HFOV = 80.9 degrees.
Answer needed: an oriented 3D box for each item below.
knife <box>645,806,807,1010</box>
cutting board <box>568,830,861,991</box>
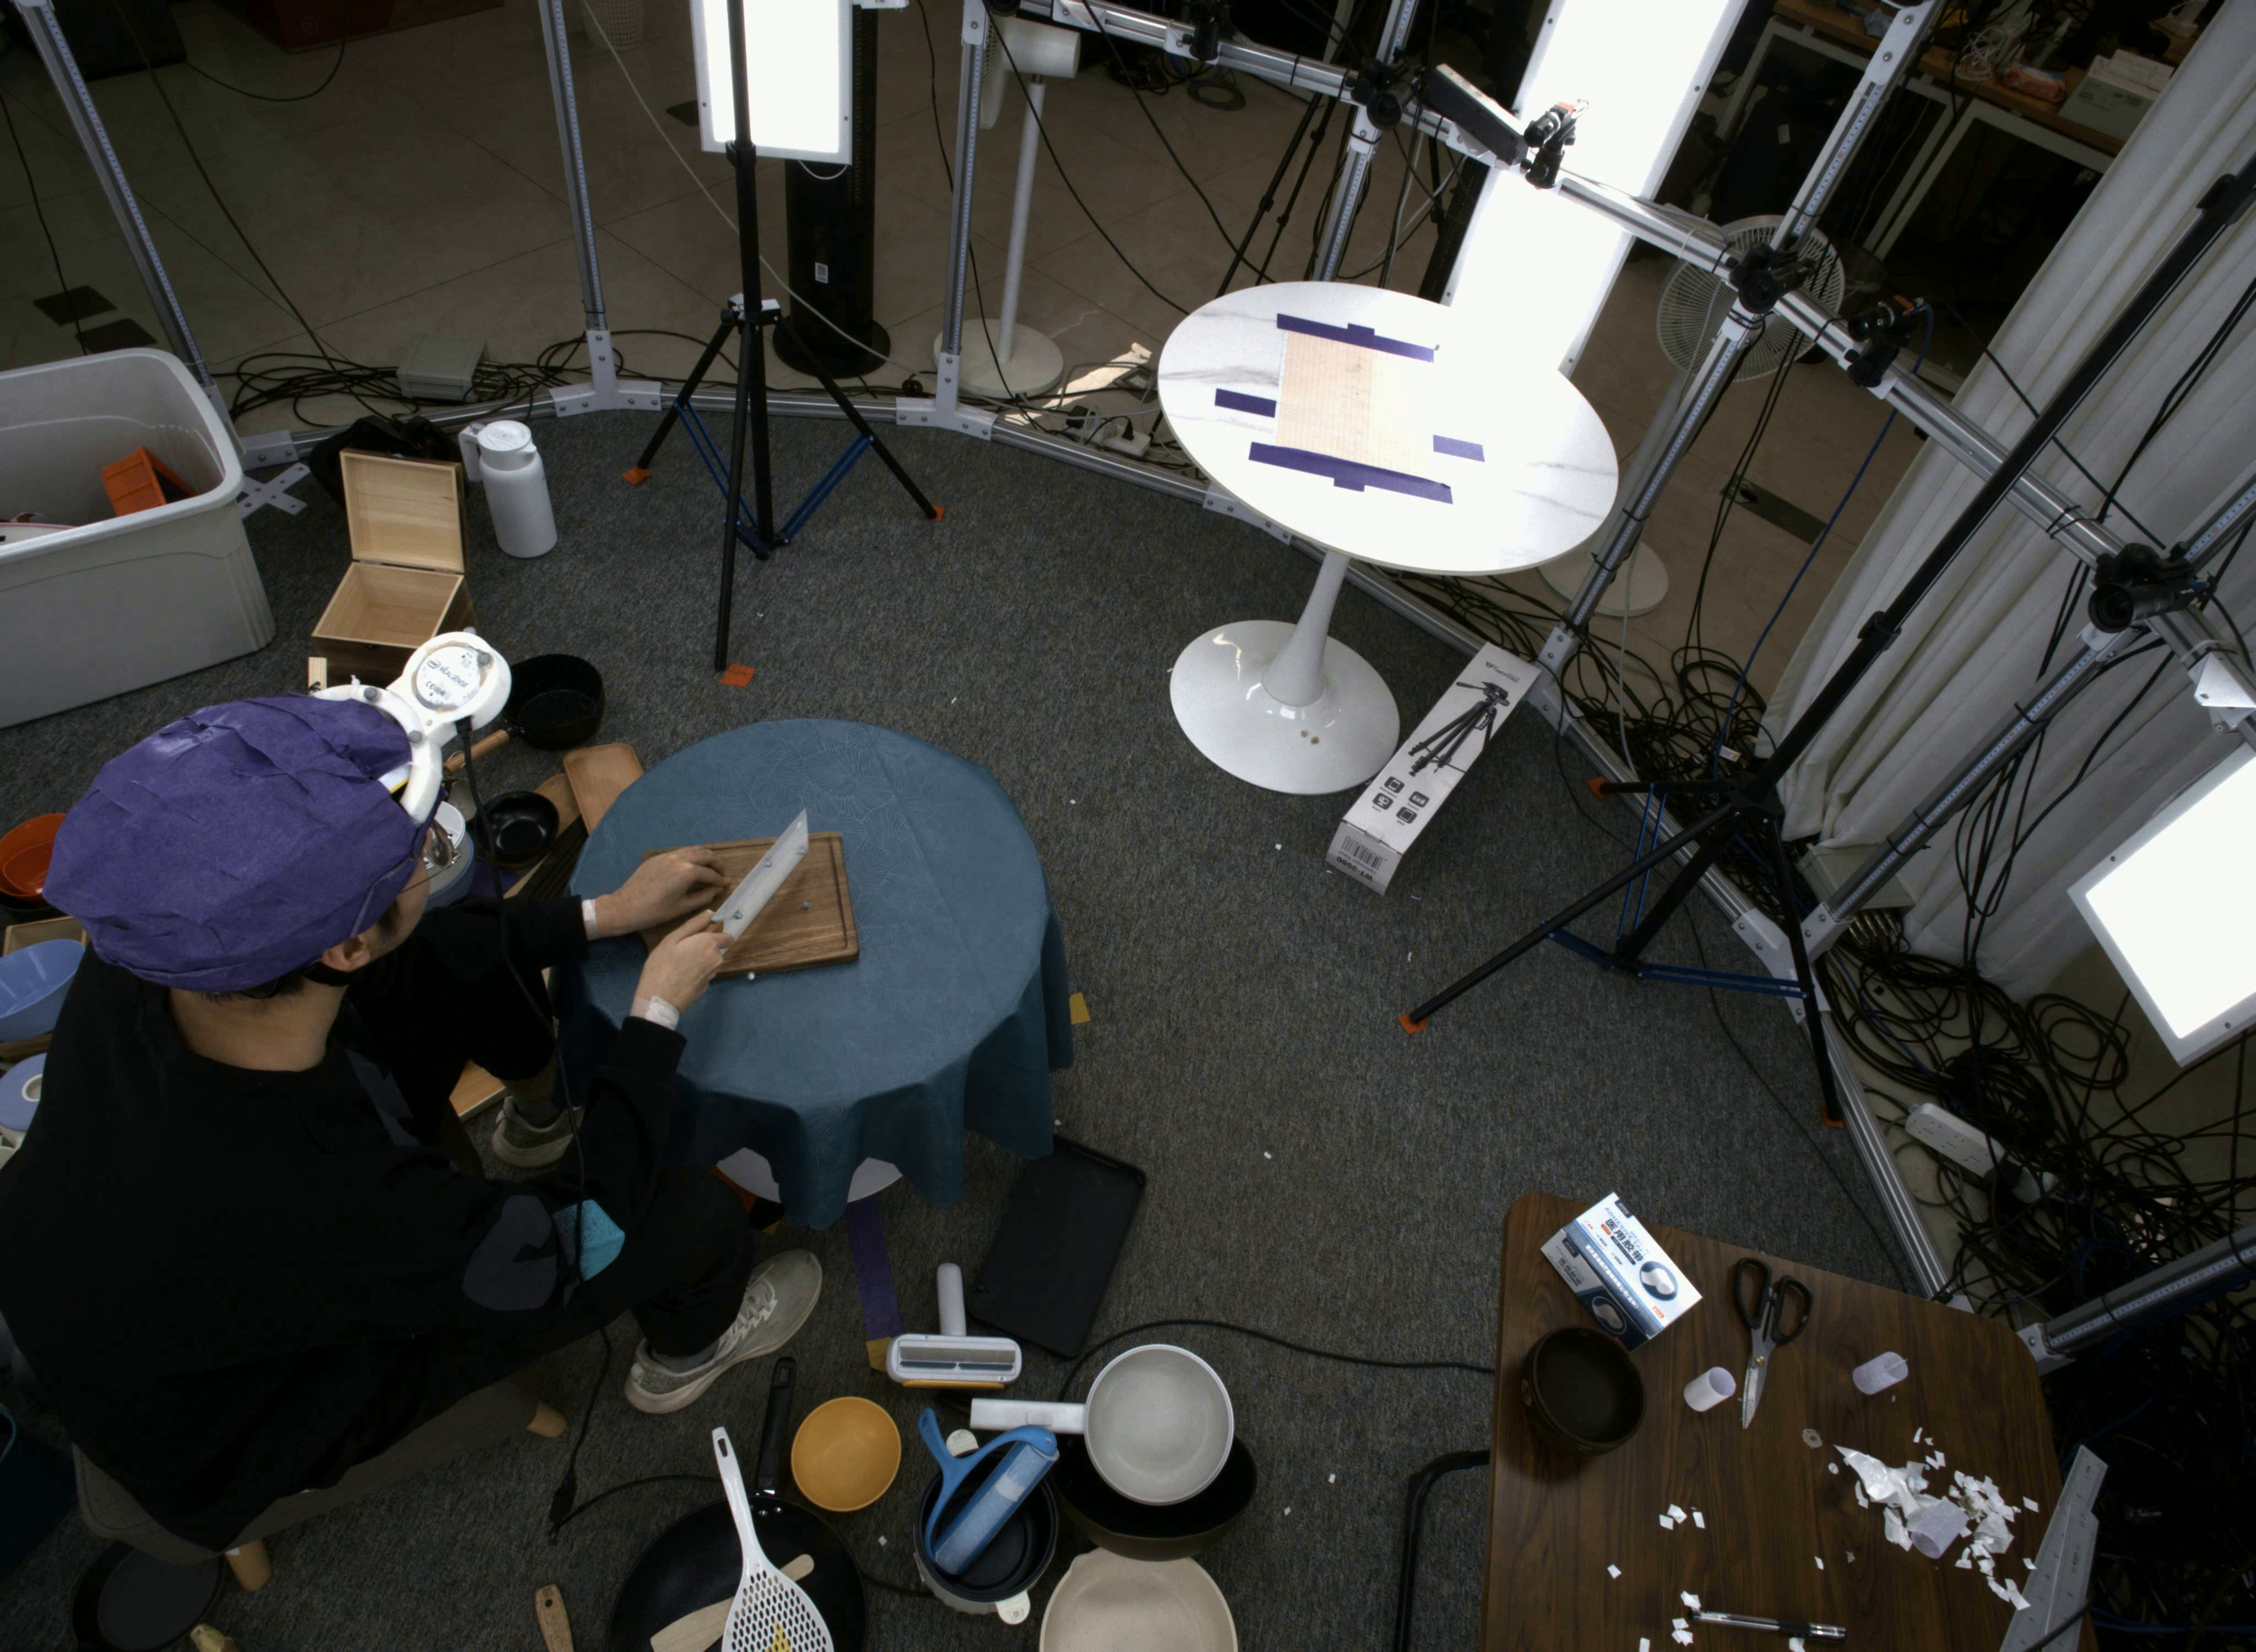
[{"bbox_3d":[-0.464,0.102,1.516,0.020,0.095,0.304,24,53,9],"label":"knife"},{"bbox_3d":[-0.519,0.105,1.596,0.354,0.023,0.196,-7,56,-20],"label":"cutting board"}]
